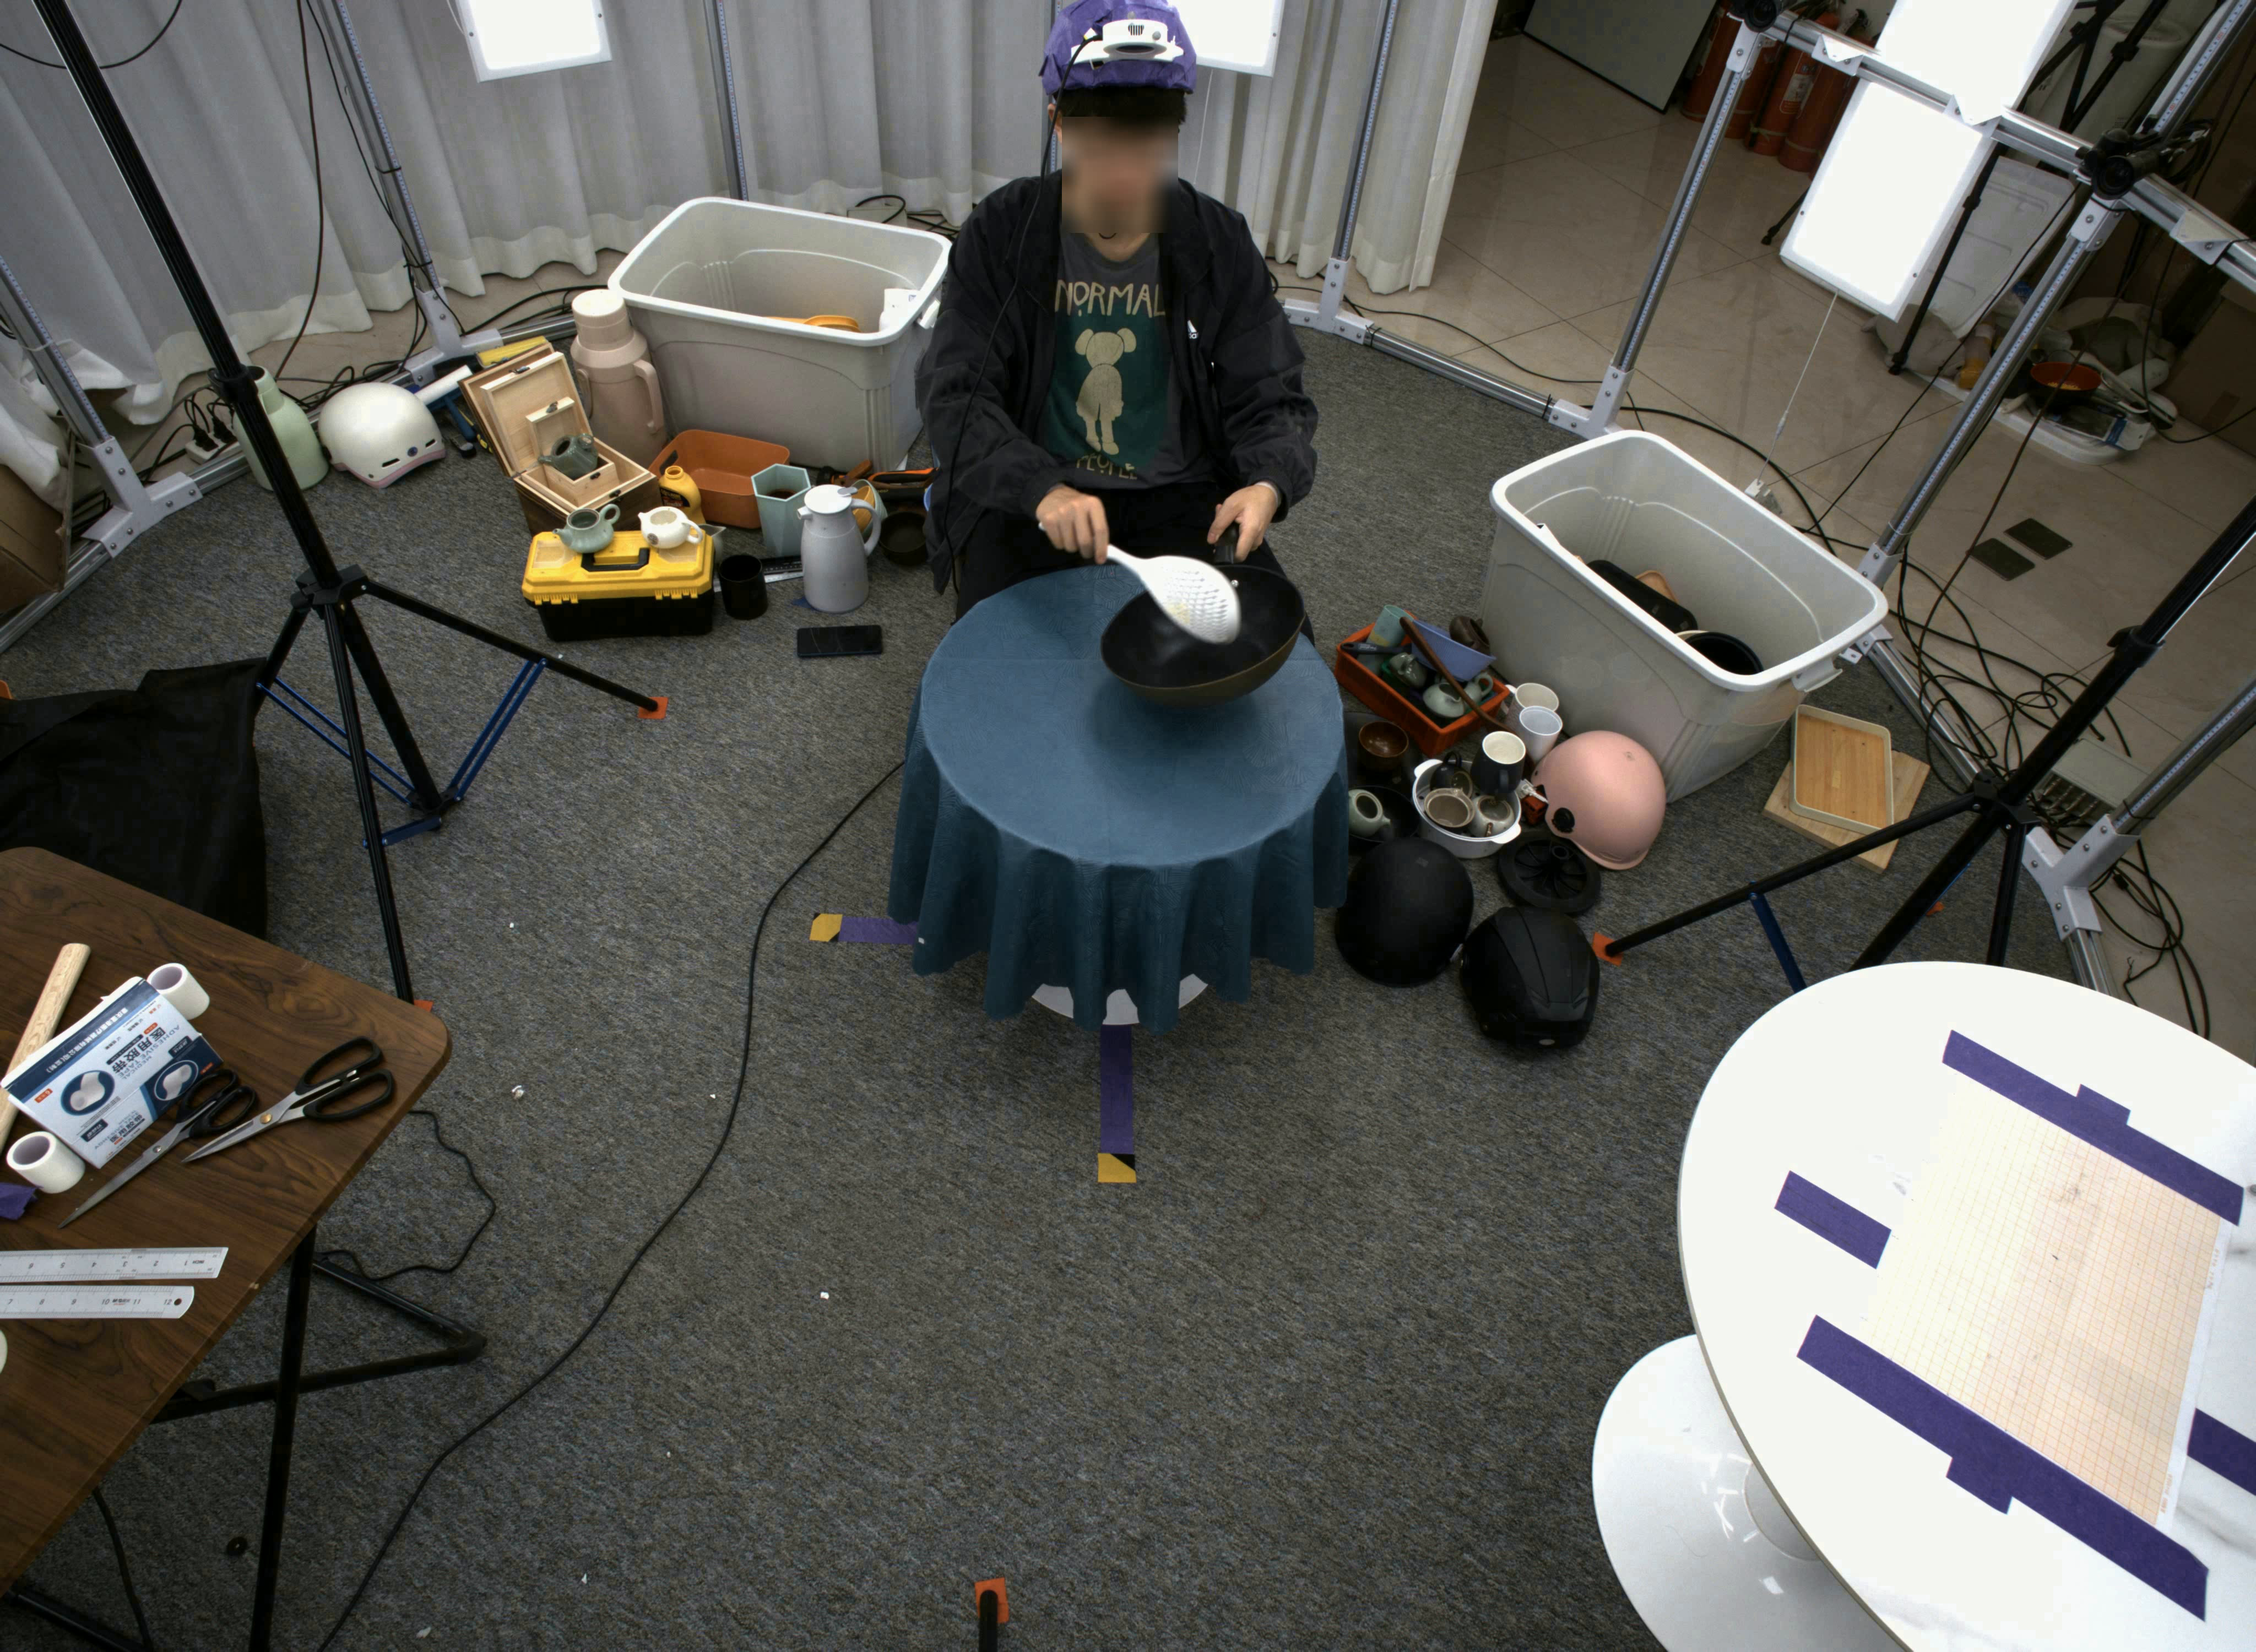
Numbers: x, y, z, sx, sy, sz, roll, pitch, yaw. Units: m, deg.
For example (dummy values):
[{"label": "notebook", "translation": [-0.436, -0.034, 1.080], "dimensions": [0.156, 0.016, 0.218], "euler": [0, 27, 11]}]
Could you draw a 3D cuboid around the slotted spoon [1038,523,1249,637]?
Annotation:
[{"label": "slotted spoon", "translation": [0.017, -0.358, 1.805], "dimensions": [0.353, 0.133, 0.051], "euler": [33, 62, 27]}]

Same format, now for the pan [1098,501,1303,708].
[{"label": "pan", "translation": [0.127, -0.310, 1.828], "dimensions": [0.288, 0.085, 0.473], "euler": [-3, 42, 21]}]
